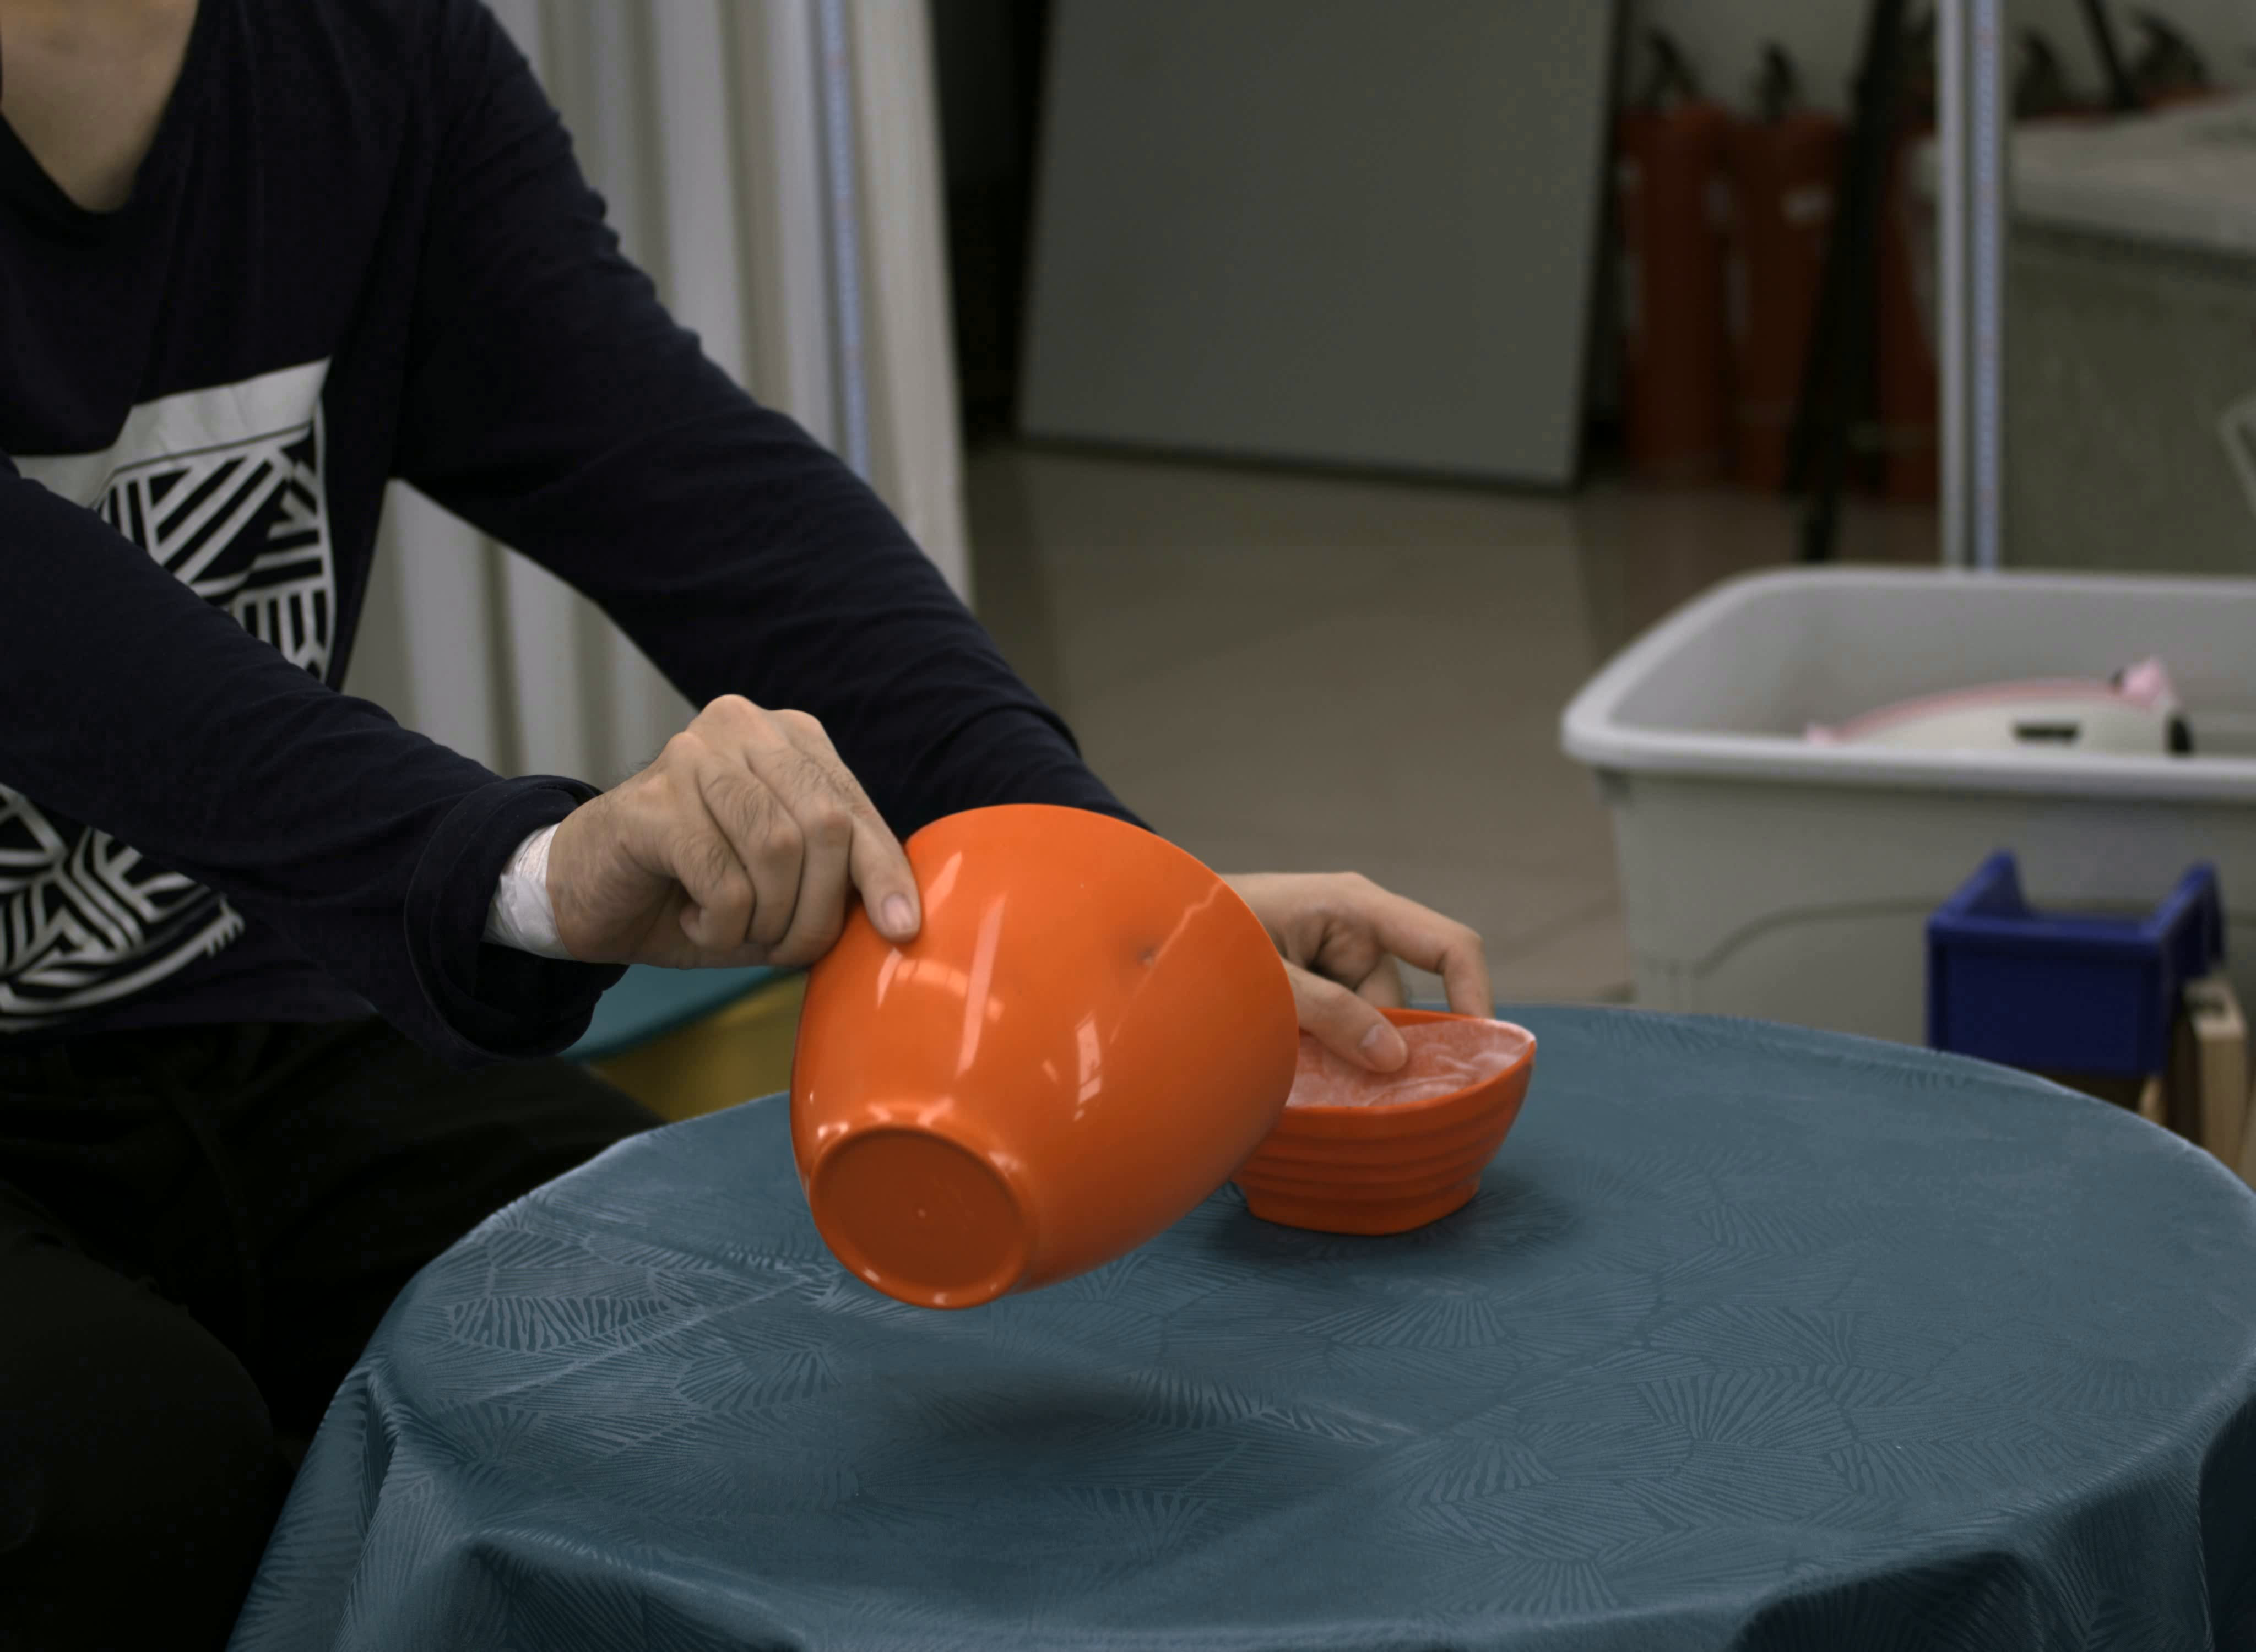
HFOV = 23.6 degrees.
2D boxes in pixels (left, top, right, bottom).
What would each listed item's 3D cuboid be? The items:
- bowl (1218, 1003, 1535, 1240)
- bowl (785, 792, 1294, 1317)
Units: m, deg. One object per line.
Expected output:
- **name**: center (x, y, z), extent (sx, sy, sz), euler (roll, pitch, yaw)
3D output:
- **bowl**: center (0.075, 0.098, 1.741), extent (0.117, 0.052, 0.119), euler (-4, 15, 0)
- **bowl**: center (-0.036, 0.078, 1.538), extent (0.148, 0.149, 0.104), euler (1, 34, 19)
